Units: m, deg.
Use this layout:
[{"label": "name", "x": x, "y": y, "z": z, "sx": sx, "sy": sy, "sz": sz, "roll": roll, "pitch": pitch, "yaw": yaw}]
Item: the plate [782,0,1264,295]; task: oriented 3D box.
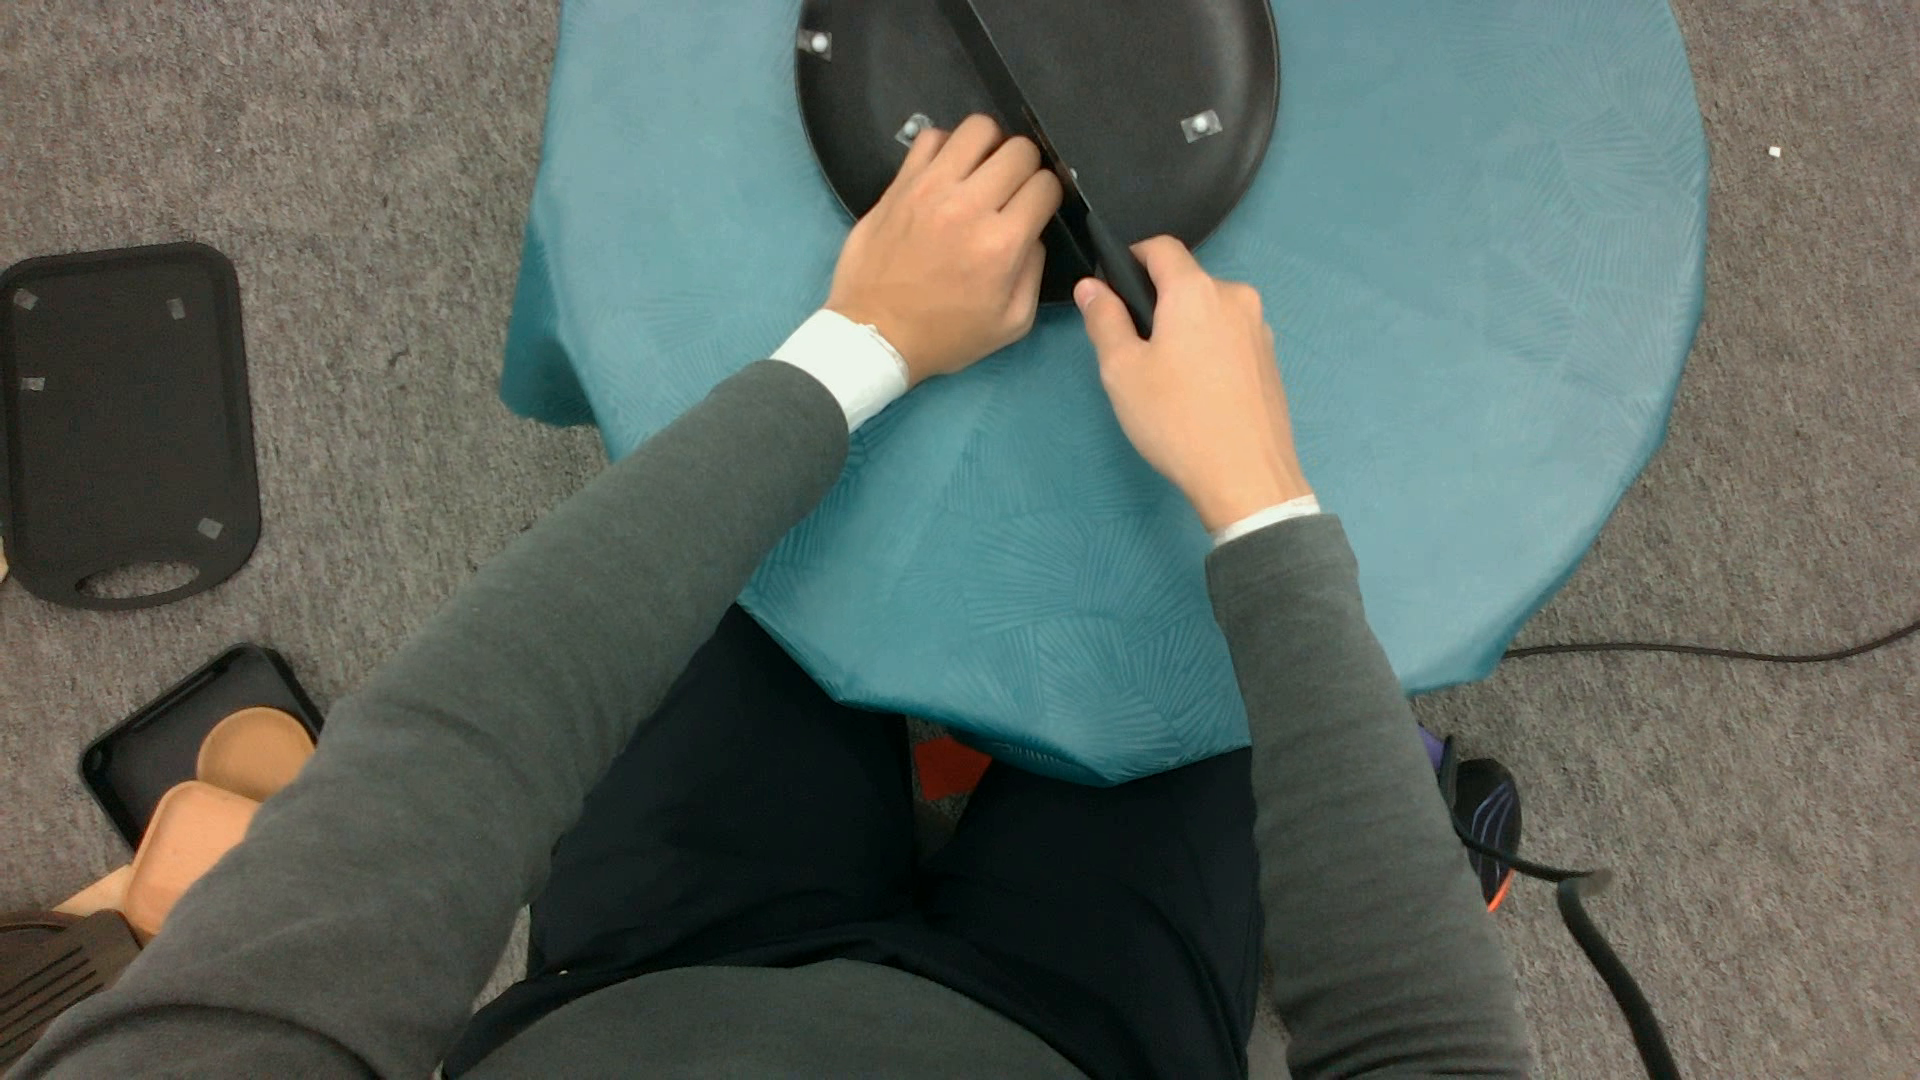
[{"label": "plate", "x": 0.032, "y": -0.241, "z": 0.700, "sx": 0.244, "sy": 0.023, "sz": 0.244, "roll": 0, "pitch": 84, "yaw": -2}]

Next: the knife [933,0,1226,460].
[{"label": "knife", "x": 0.043, "y": -0.171, "z": 0.654, "sx": 0.021, "sy": 0.081, "sz": 0.302, "roll": -29, "pitch": 81, "yaw": -2}]
